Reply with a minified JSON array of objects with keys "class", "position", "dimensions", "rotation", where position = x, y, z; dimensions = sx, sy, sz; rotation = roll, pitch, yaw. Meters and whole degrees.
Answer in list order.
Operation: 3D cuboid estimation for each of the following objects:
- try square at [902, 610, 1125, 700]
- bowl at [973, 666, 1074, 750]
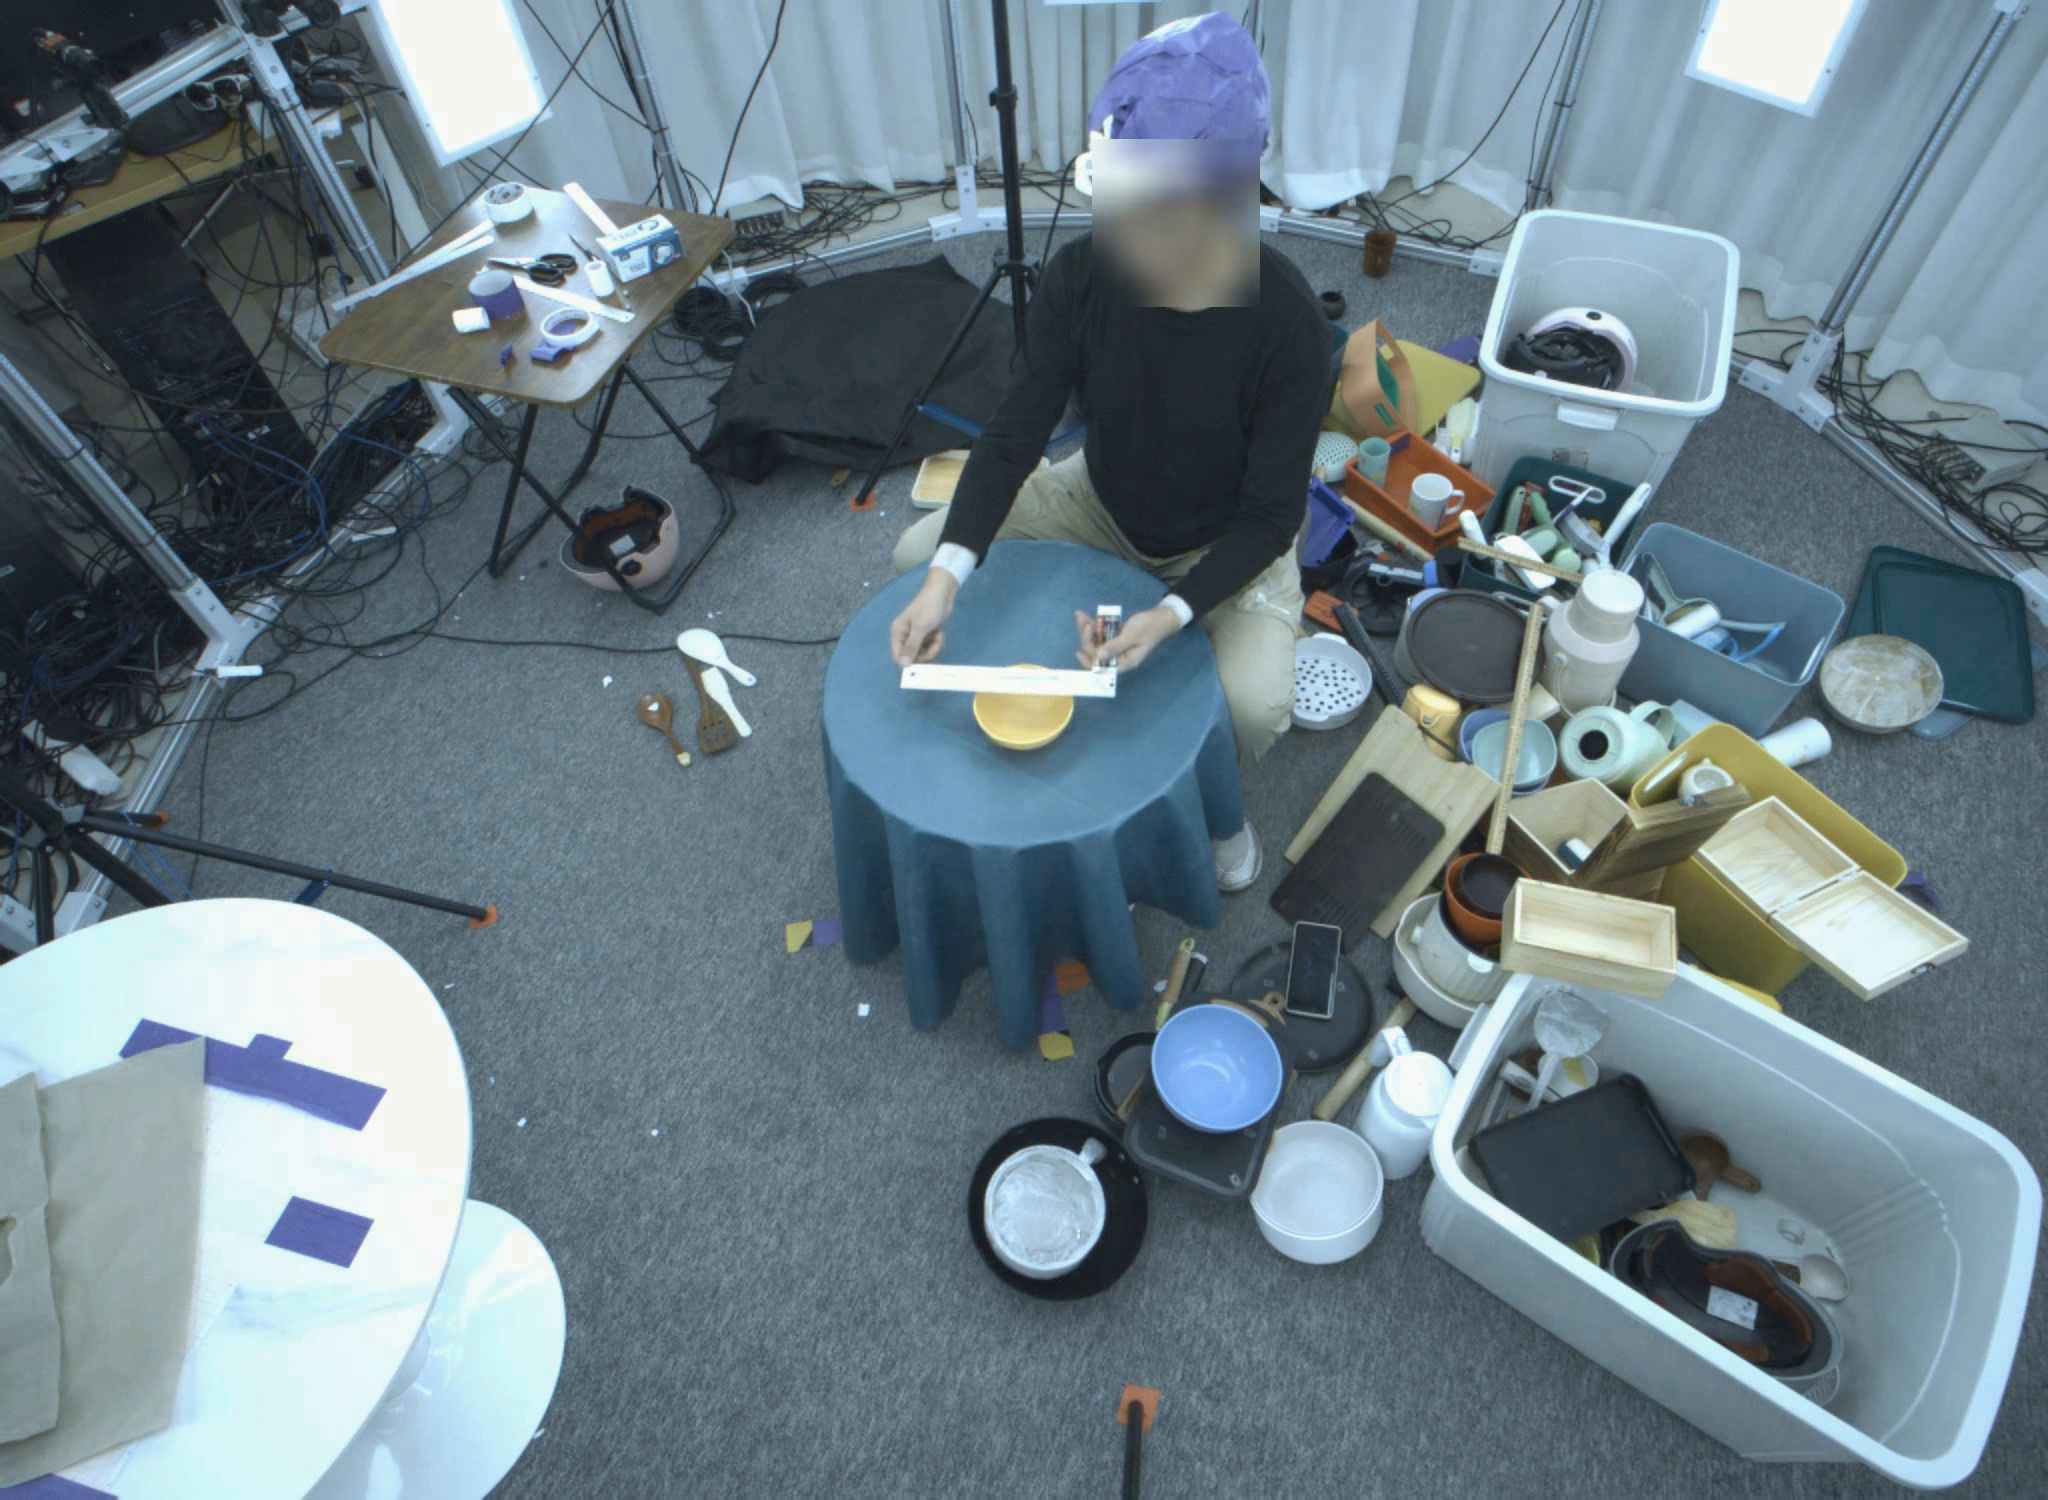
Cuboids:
[{"class":"try square","position":[-0.014,-0.144,1.787],"dimensions":[0.312,0.016,0.151],"rotation":[3,62,5]},{"class":"bowl","position":[-0.001,-0.050,1.790],"dimensions":[0.145,0.060,0.144],"rotation":[1,53,0]}]
